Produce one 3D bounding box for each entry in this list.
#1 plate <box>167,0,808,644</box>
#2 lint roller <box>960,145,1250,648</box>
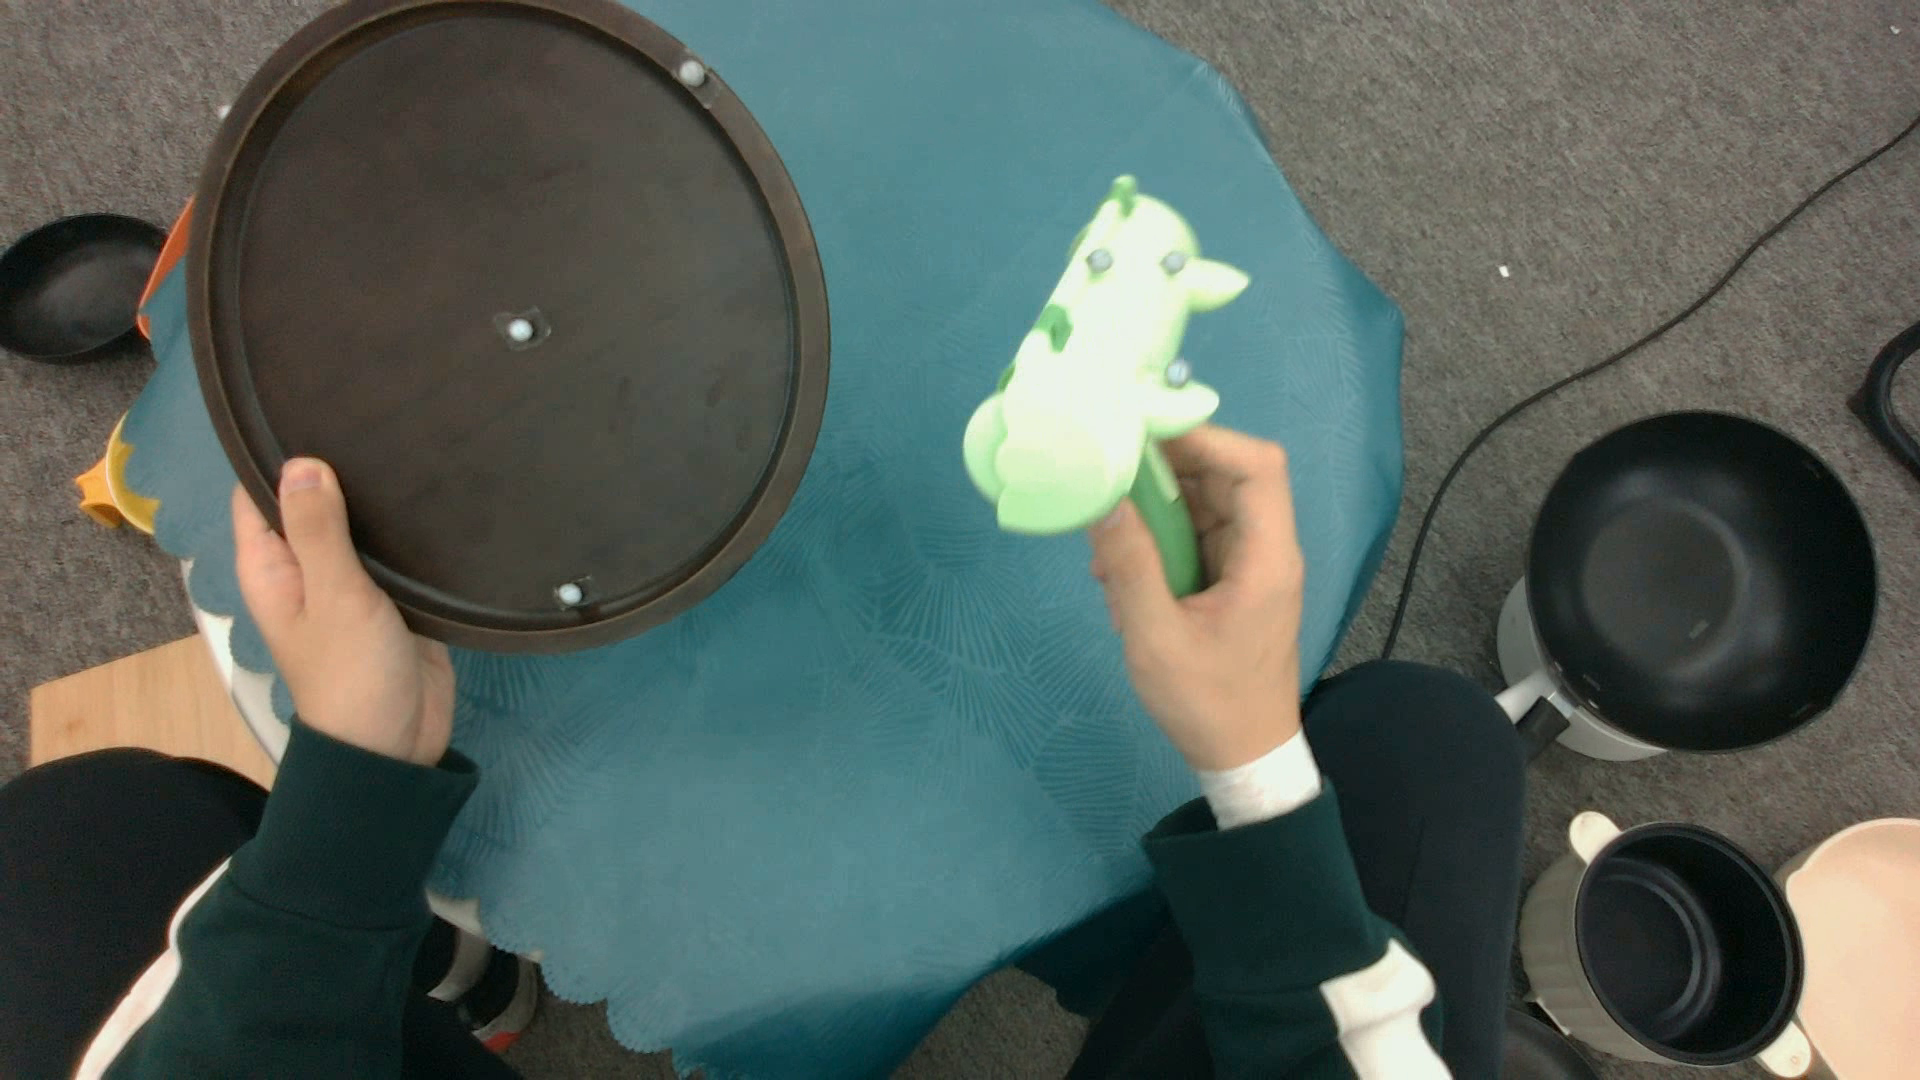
[{"bbox_3d":[-0.182,-0.084,0.531,0.254,0.029,0.254,1,99,5],"label":"plate"},{"bbox_3d":[0.080,-0.042,0.521,0.183,0.082,0.199,63,29,-20],"label":"lint roller"}]
